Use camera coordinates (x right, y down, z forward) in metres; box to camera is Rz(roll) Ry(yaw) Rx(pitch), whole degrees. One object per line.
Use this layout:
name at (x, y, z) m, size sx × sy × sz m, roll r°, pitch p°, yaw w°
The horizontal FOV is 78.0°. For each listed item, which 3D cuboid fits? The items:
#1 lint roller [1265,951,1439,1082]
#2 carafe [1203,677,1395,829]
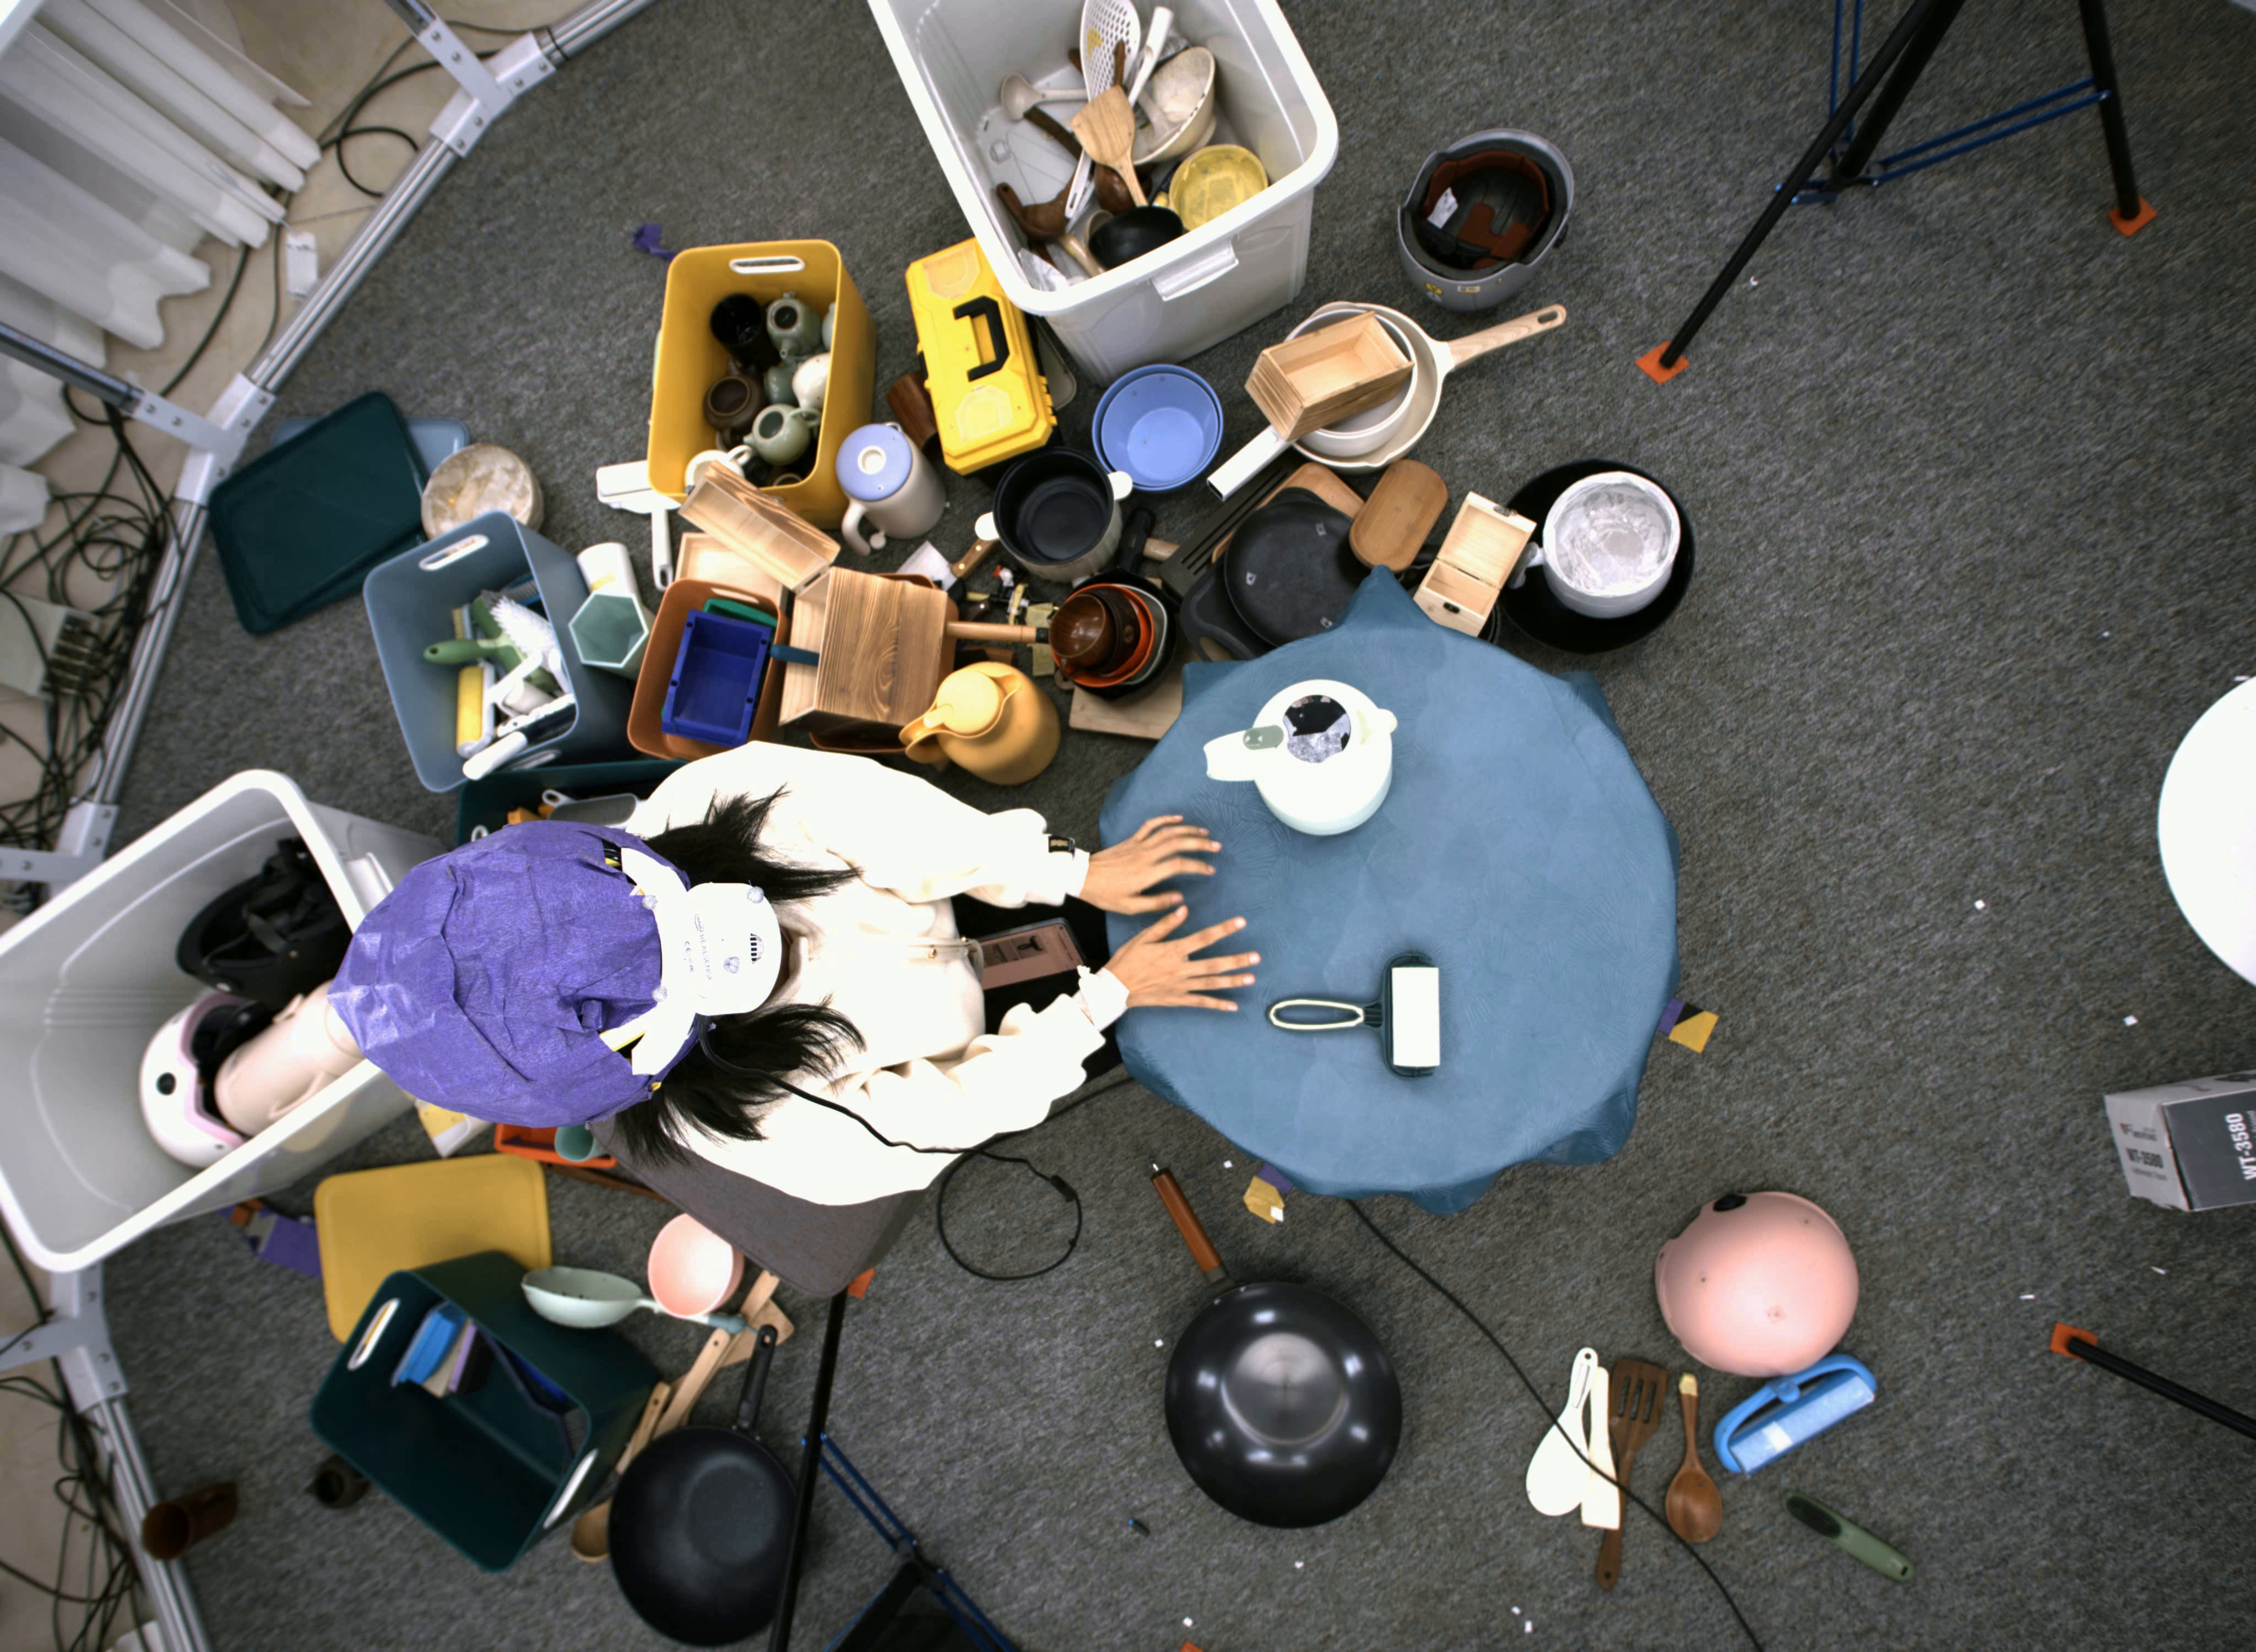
lint roller at (0.230, 0.195, 1.436) m, size 0.181 × 0.048 × 0.133 m, roll 0°, pitch 85°, yaw 10°
carafe at (0.175, -0.075, 1.360) m, size 0.188 × 0.256 × 0.143 m, roll -8°, pitch 85°, yaw 13°
